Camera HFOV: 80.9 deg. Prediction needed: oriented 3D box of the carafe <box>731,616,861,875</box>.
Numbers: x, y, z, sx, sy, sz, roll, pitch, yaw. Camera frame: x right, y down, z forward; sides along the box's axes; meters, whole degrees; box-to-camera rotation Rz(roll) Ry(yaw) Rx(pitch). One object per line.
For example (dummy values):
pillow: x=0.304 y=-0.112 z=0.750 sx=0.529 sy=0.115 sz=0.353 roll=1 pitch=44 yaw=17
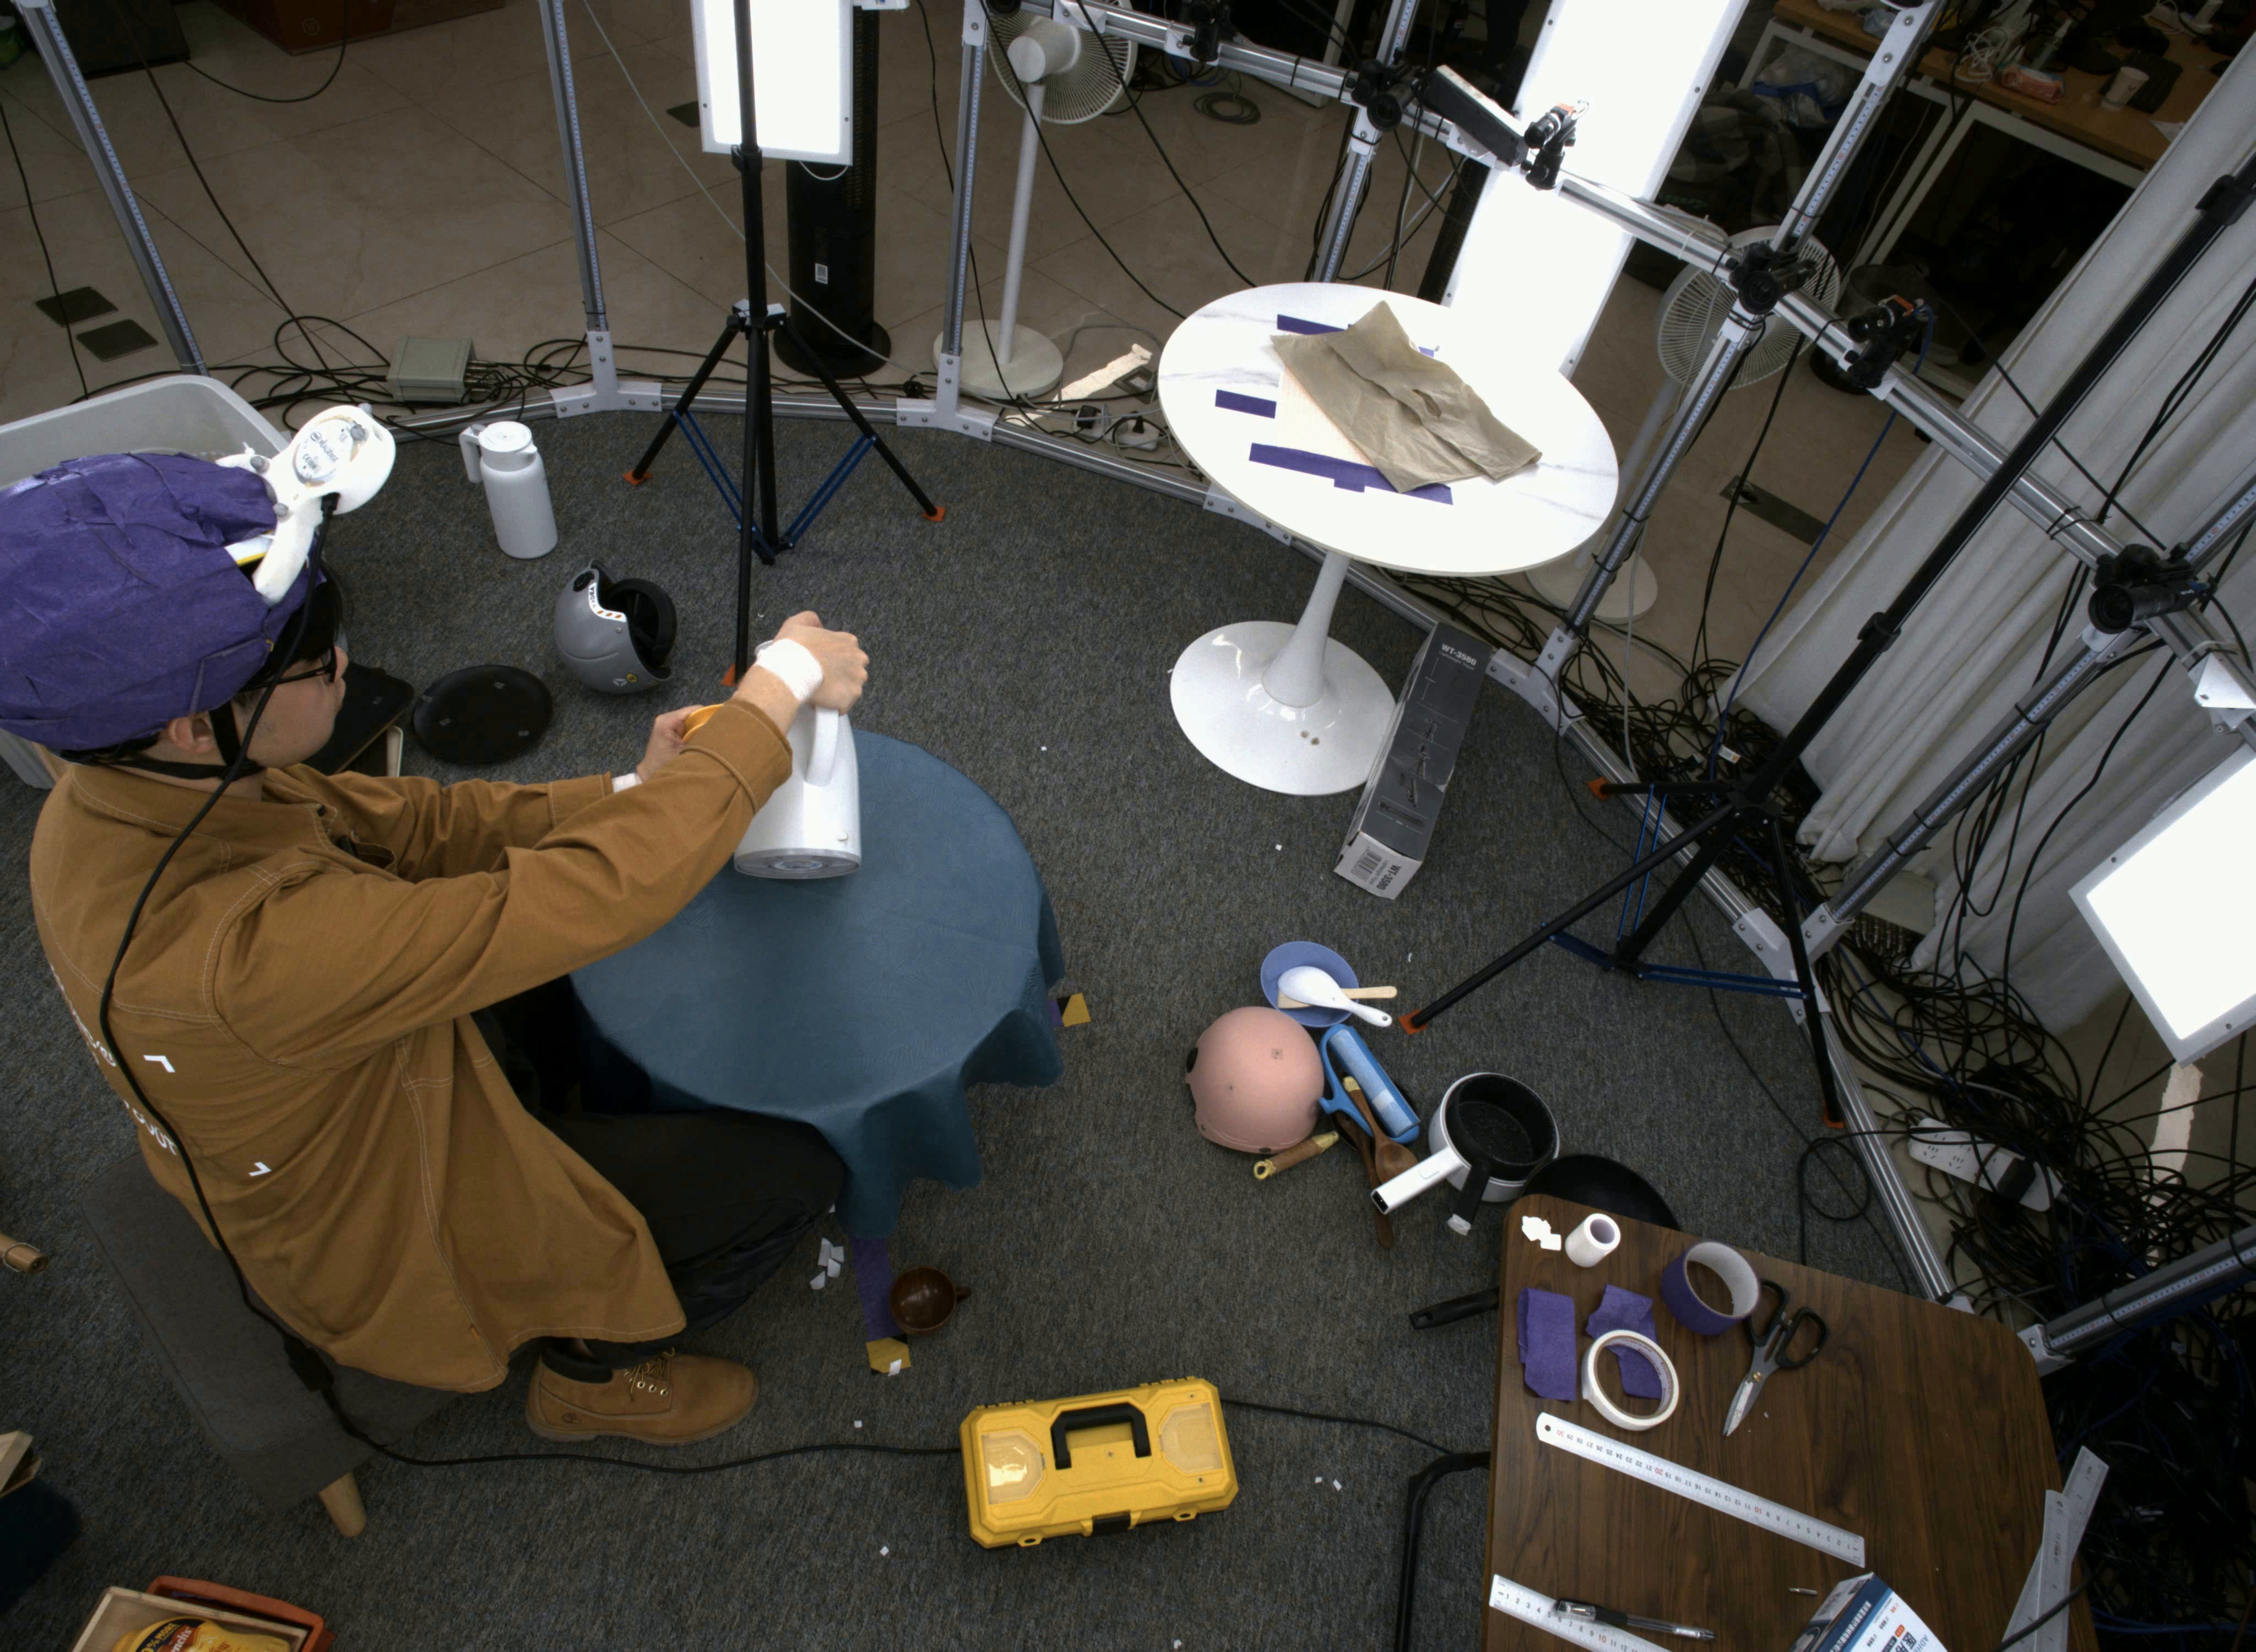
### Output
carafe: x=-0.345 y=-0.088 z=1.362 sx=0.135 sy=0.165 sz=0.249 roll=2 pitch=78 yaw=-32

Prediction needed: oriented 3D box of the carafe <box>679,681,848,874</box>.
carafe: x=-0.447 y=-0.072 z=1.601 sx=0.203 sy=0.266 sz=0.159 roll=-3 pitch=52 yaw=-15
